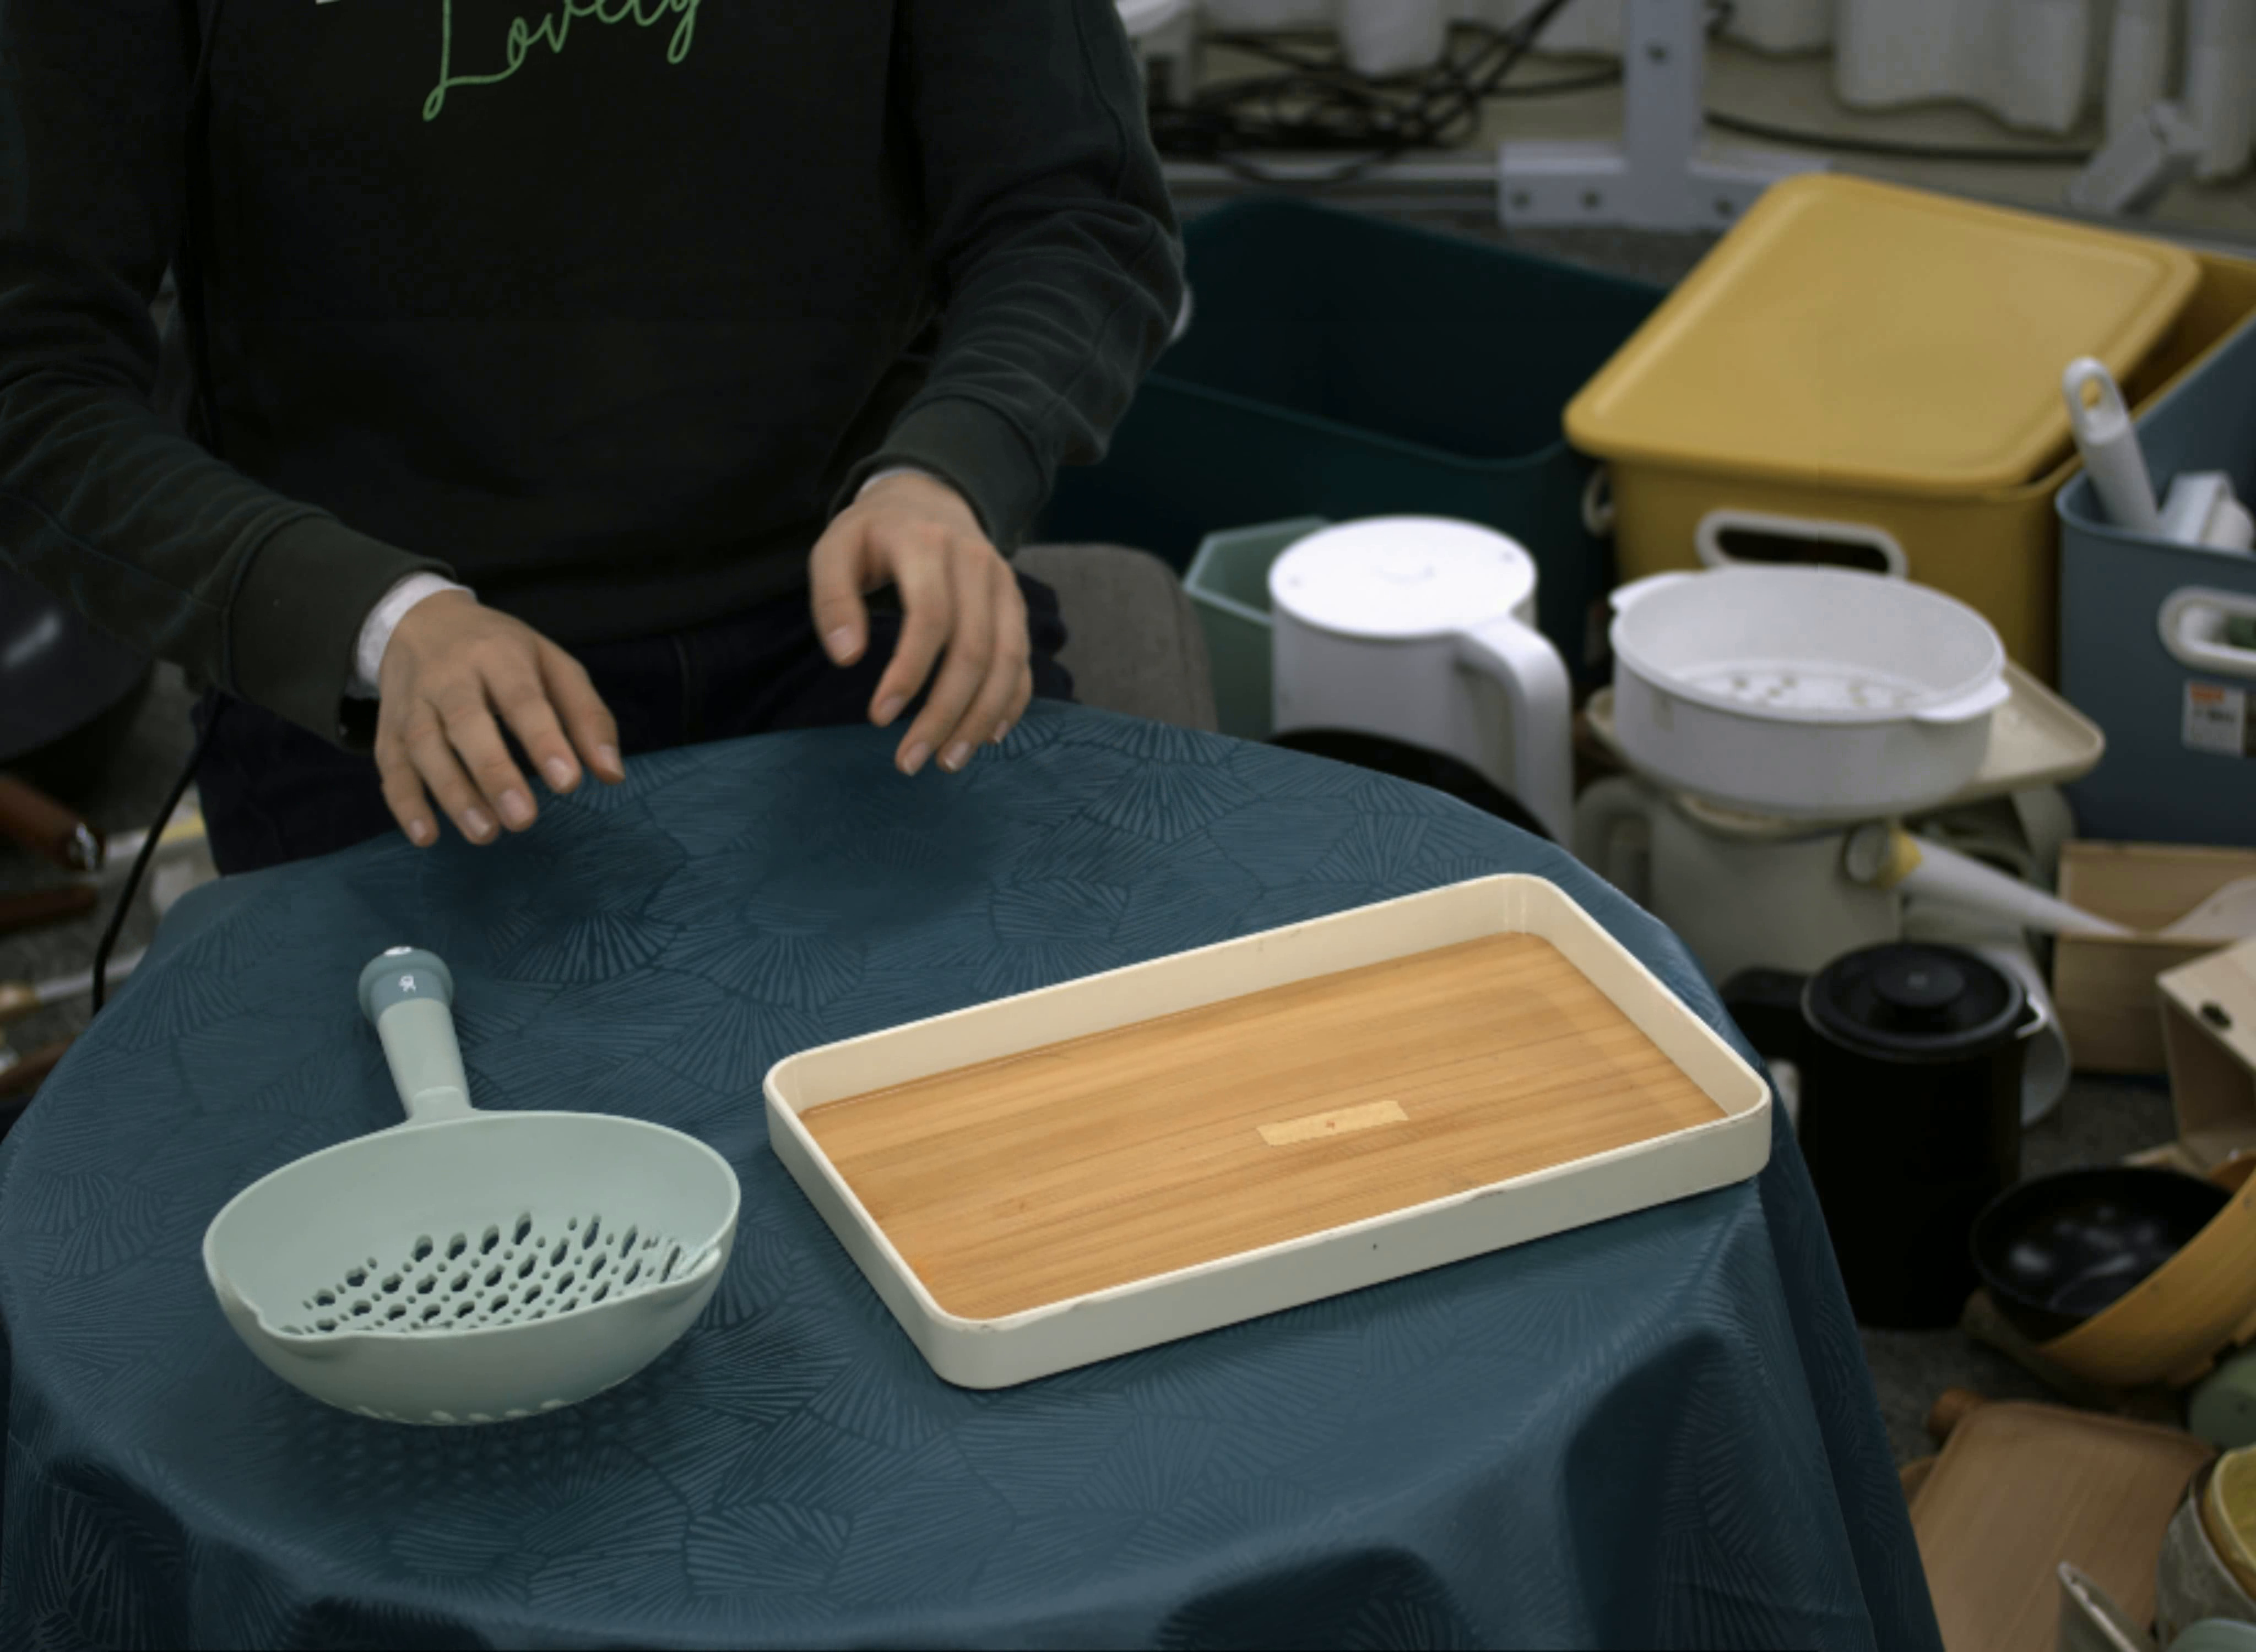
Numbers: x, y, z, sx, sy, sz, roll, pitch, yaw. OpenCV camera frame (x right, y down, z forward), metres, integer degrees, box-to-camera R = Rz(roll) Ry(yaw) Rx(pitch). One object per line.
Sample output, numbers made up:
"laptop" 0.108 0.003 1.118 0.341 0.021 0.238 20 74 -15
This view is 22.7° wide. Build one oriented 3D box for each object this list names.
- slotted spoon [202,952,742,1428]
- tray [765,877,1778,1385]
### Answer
"slotted spoon" -0.224 0.104 1.849 0.169 0.074 0.363 -7 27 -10
"tray" 0.046 0.098 1.875 0.301 0.027 0.193 -13 29 -20
